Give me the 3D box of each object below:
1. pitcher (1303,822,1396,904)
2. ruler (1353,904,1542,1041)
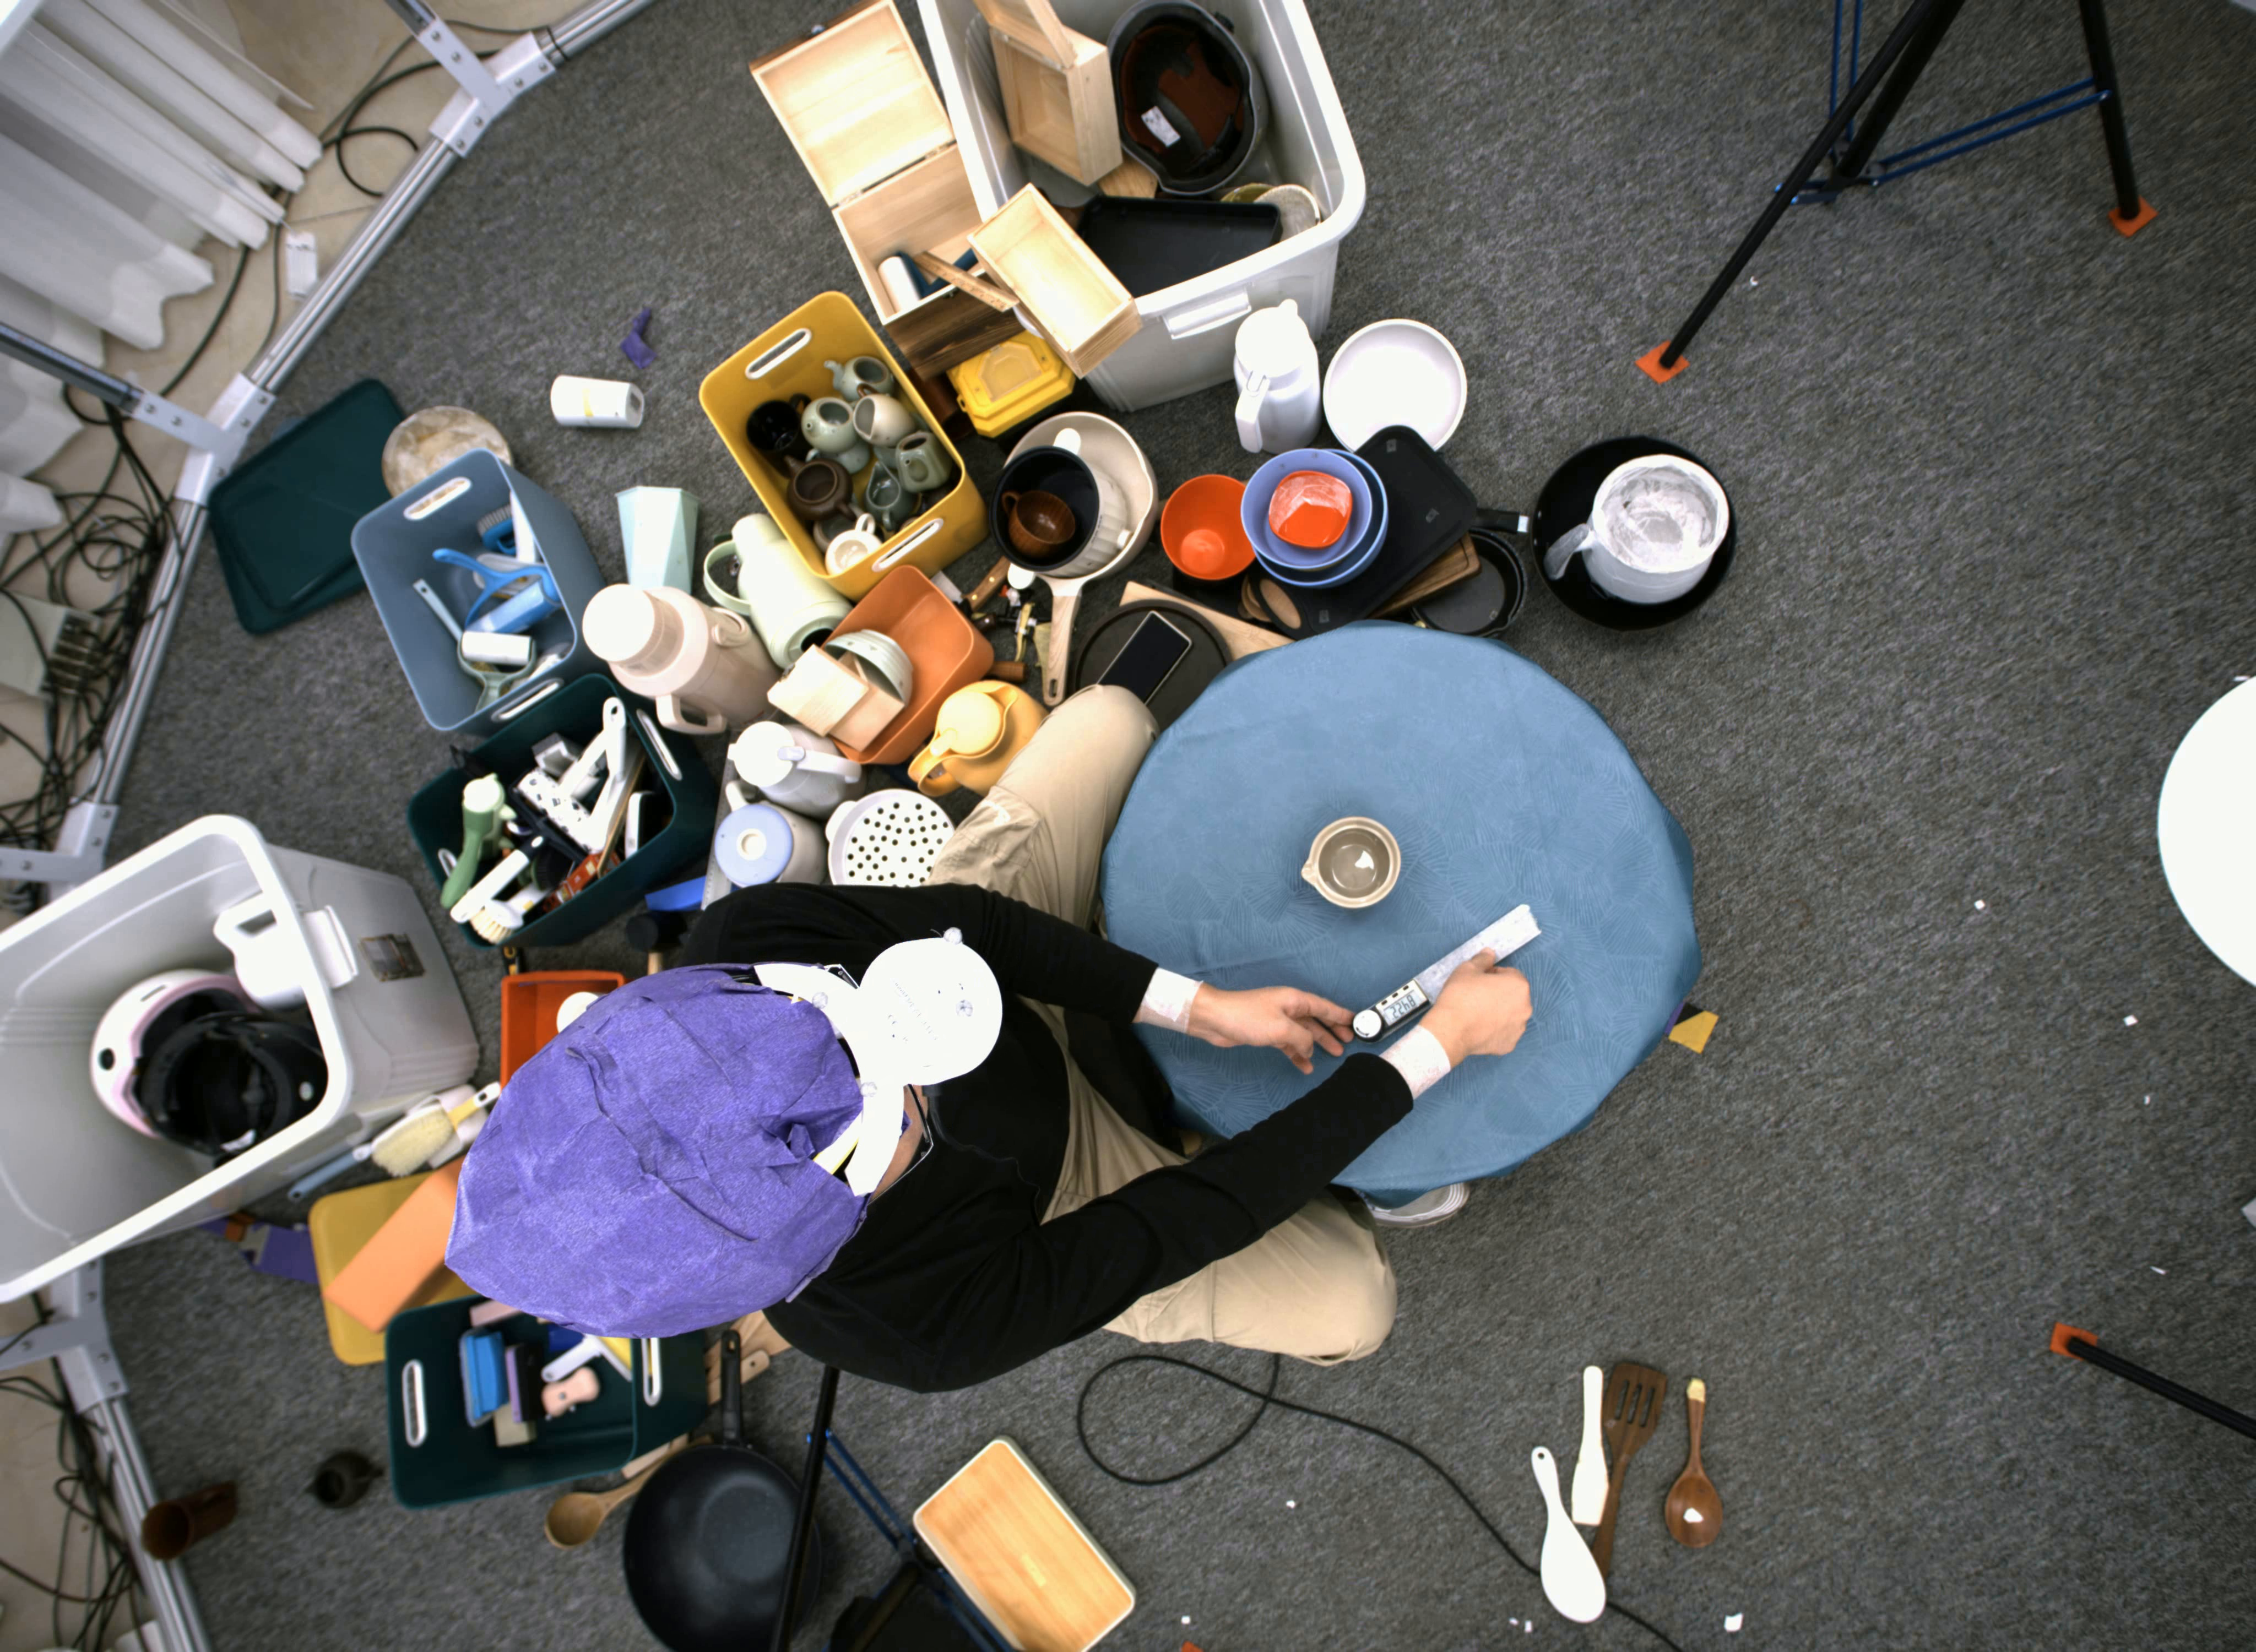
[{"bbox_3d":[0.229,0.040,1.432,0.096,0.071,0.083,-13,84,8],"label":"pitcher"},{"bbox_3d":[0.328,0.152,1.428,0.219,0.024,0.038,-35,74,8],"label":"ruler"}]
